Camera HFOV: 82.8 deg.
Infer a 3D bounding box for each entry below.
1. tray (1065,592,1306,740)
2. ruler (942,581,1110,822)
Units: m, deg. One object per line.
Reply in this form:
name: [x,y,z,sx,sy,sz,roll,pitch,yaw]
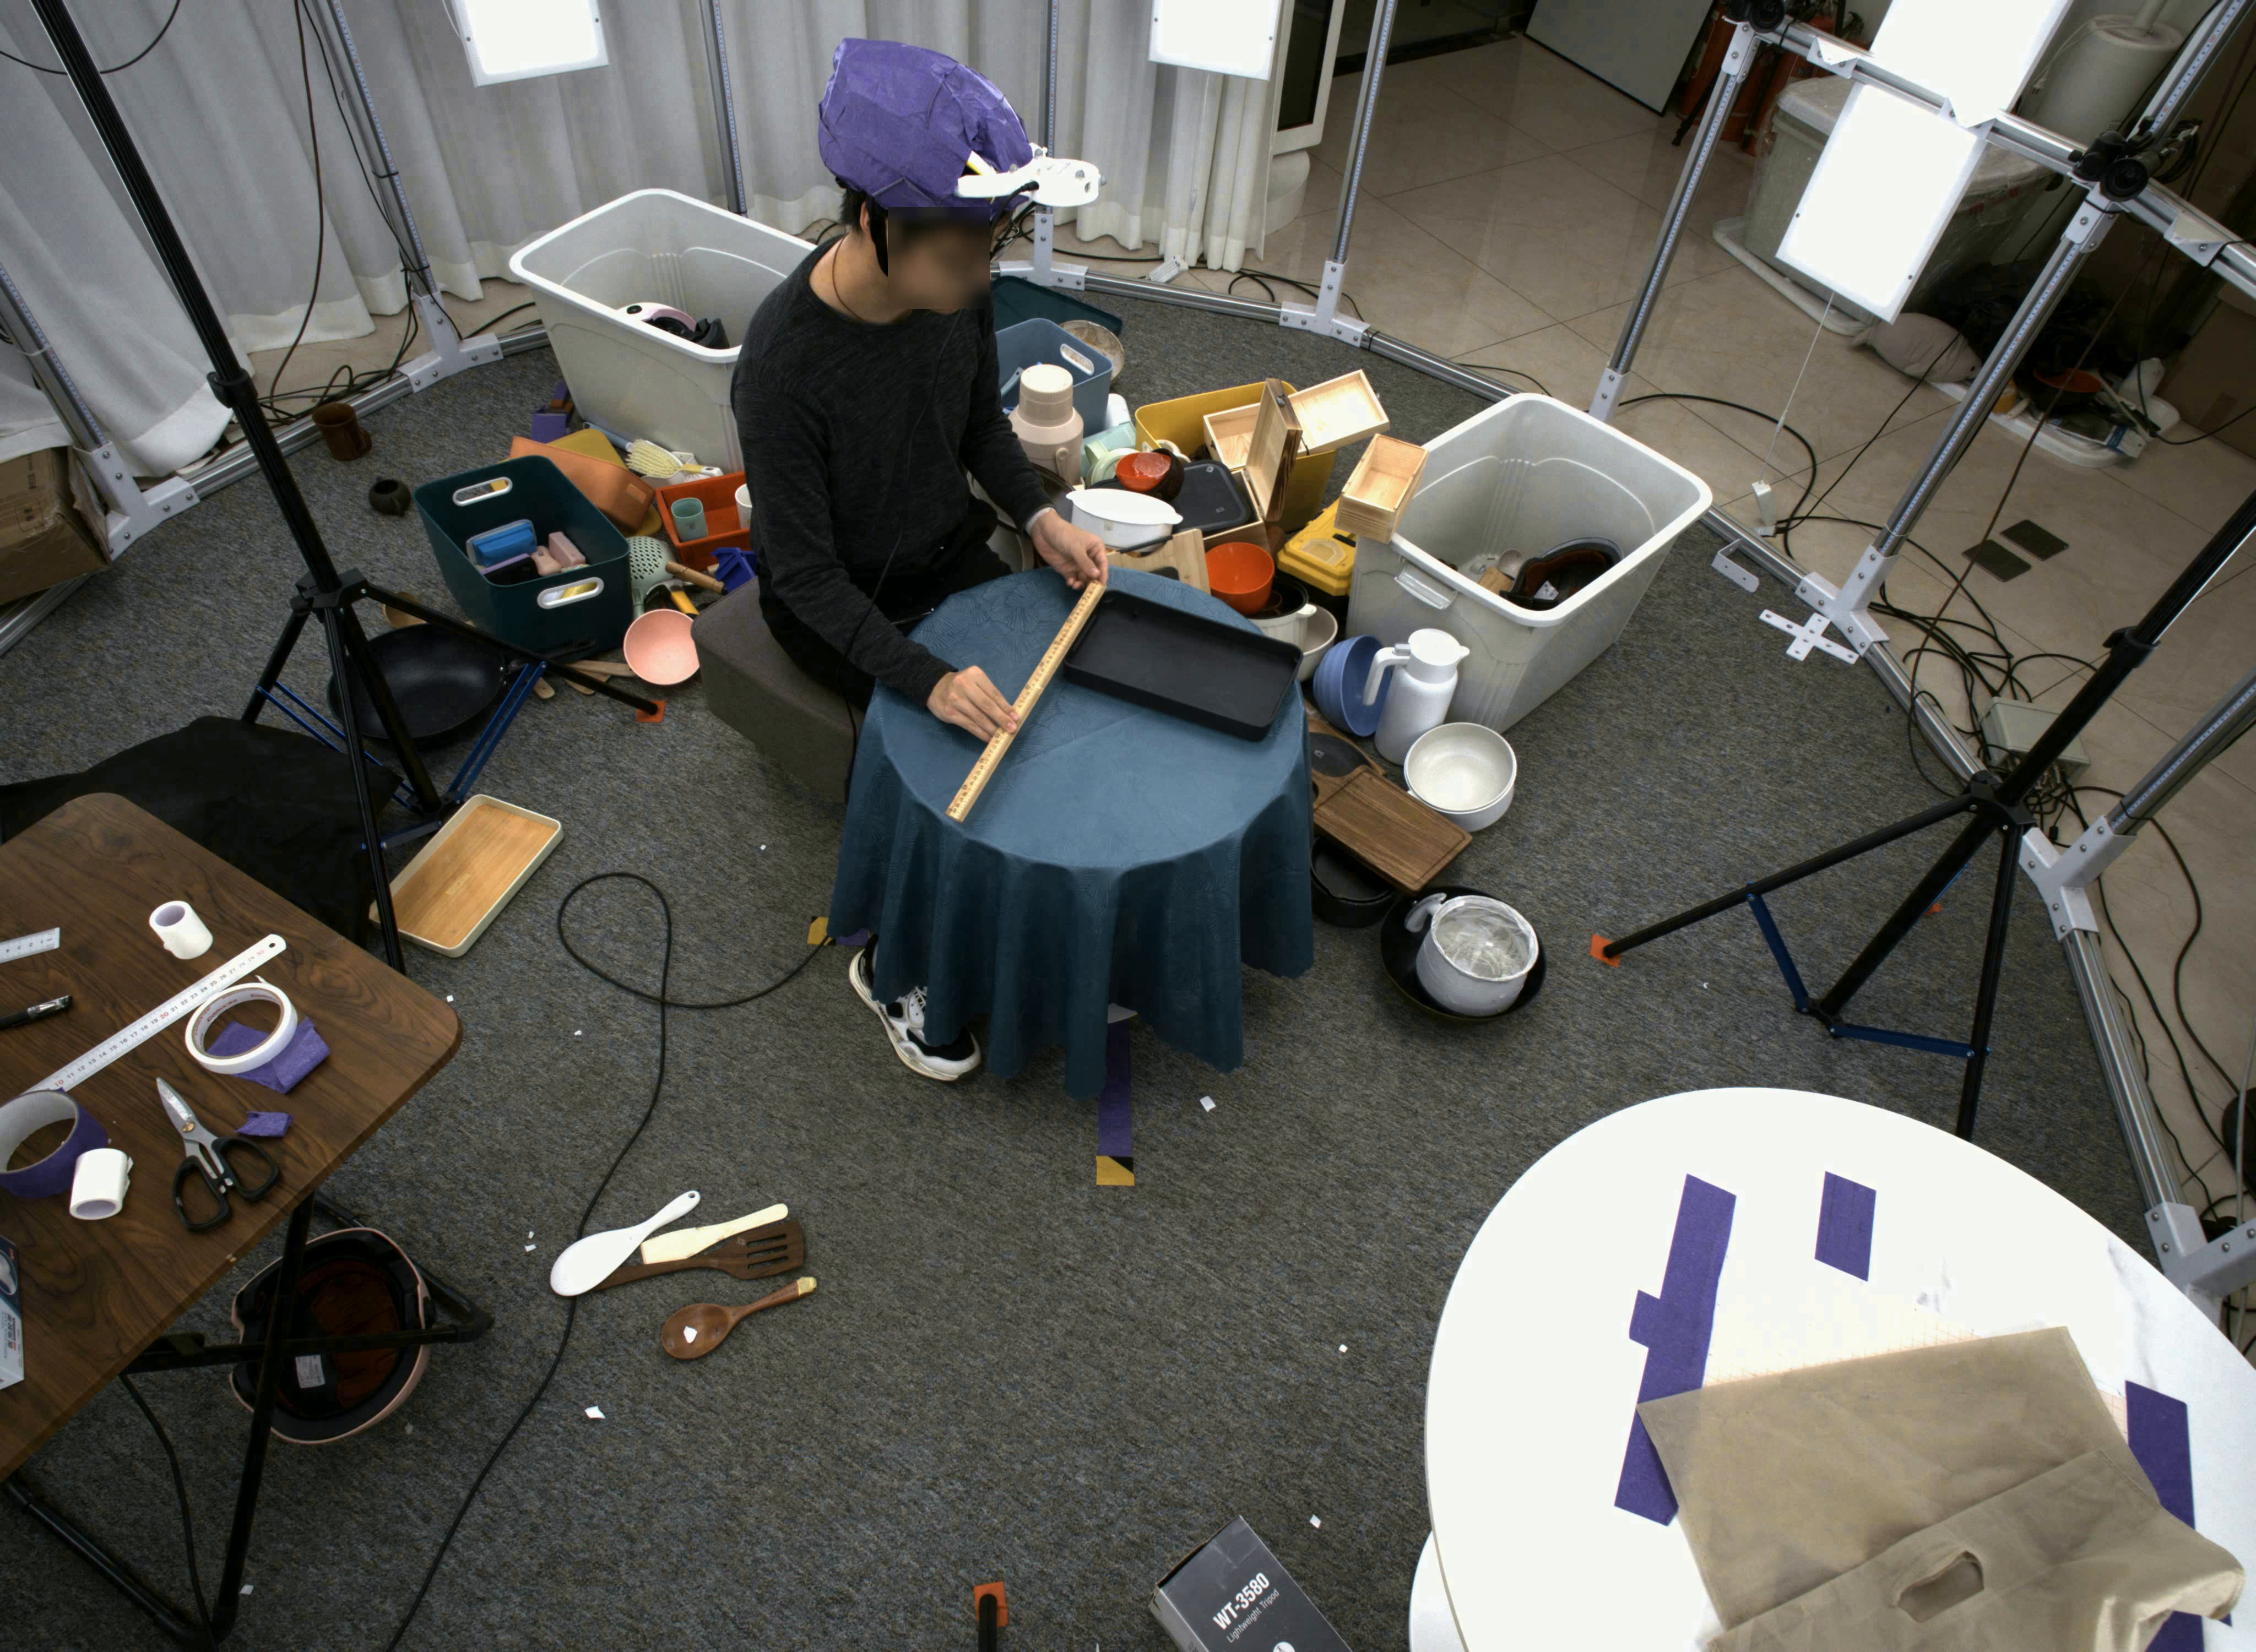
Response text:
tray: [0.083,-0.234,1.856,0.319,0.036,0.188,18,50,12]
ruler: [-0.131,-0.187,1.773,0.027,0.006,0.510,25,51,3]
